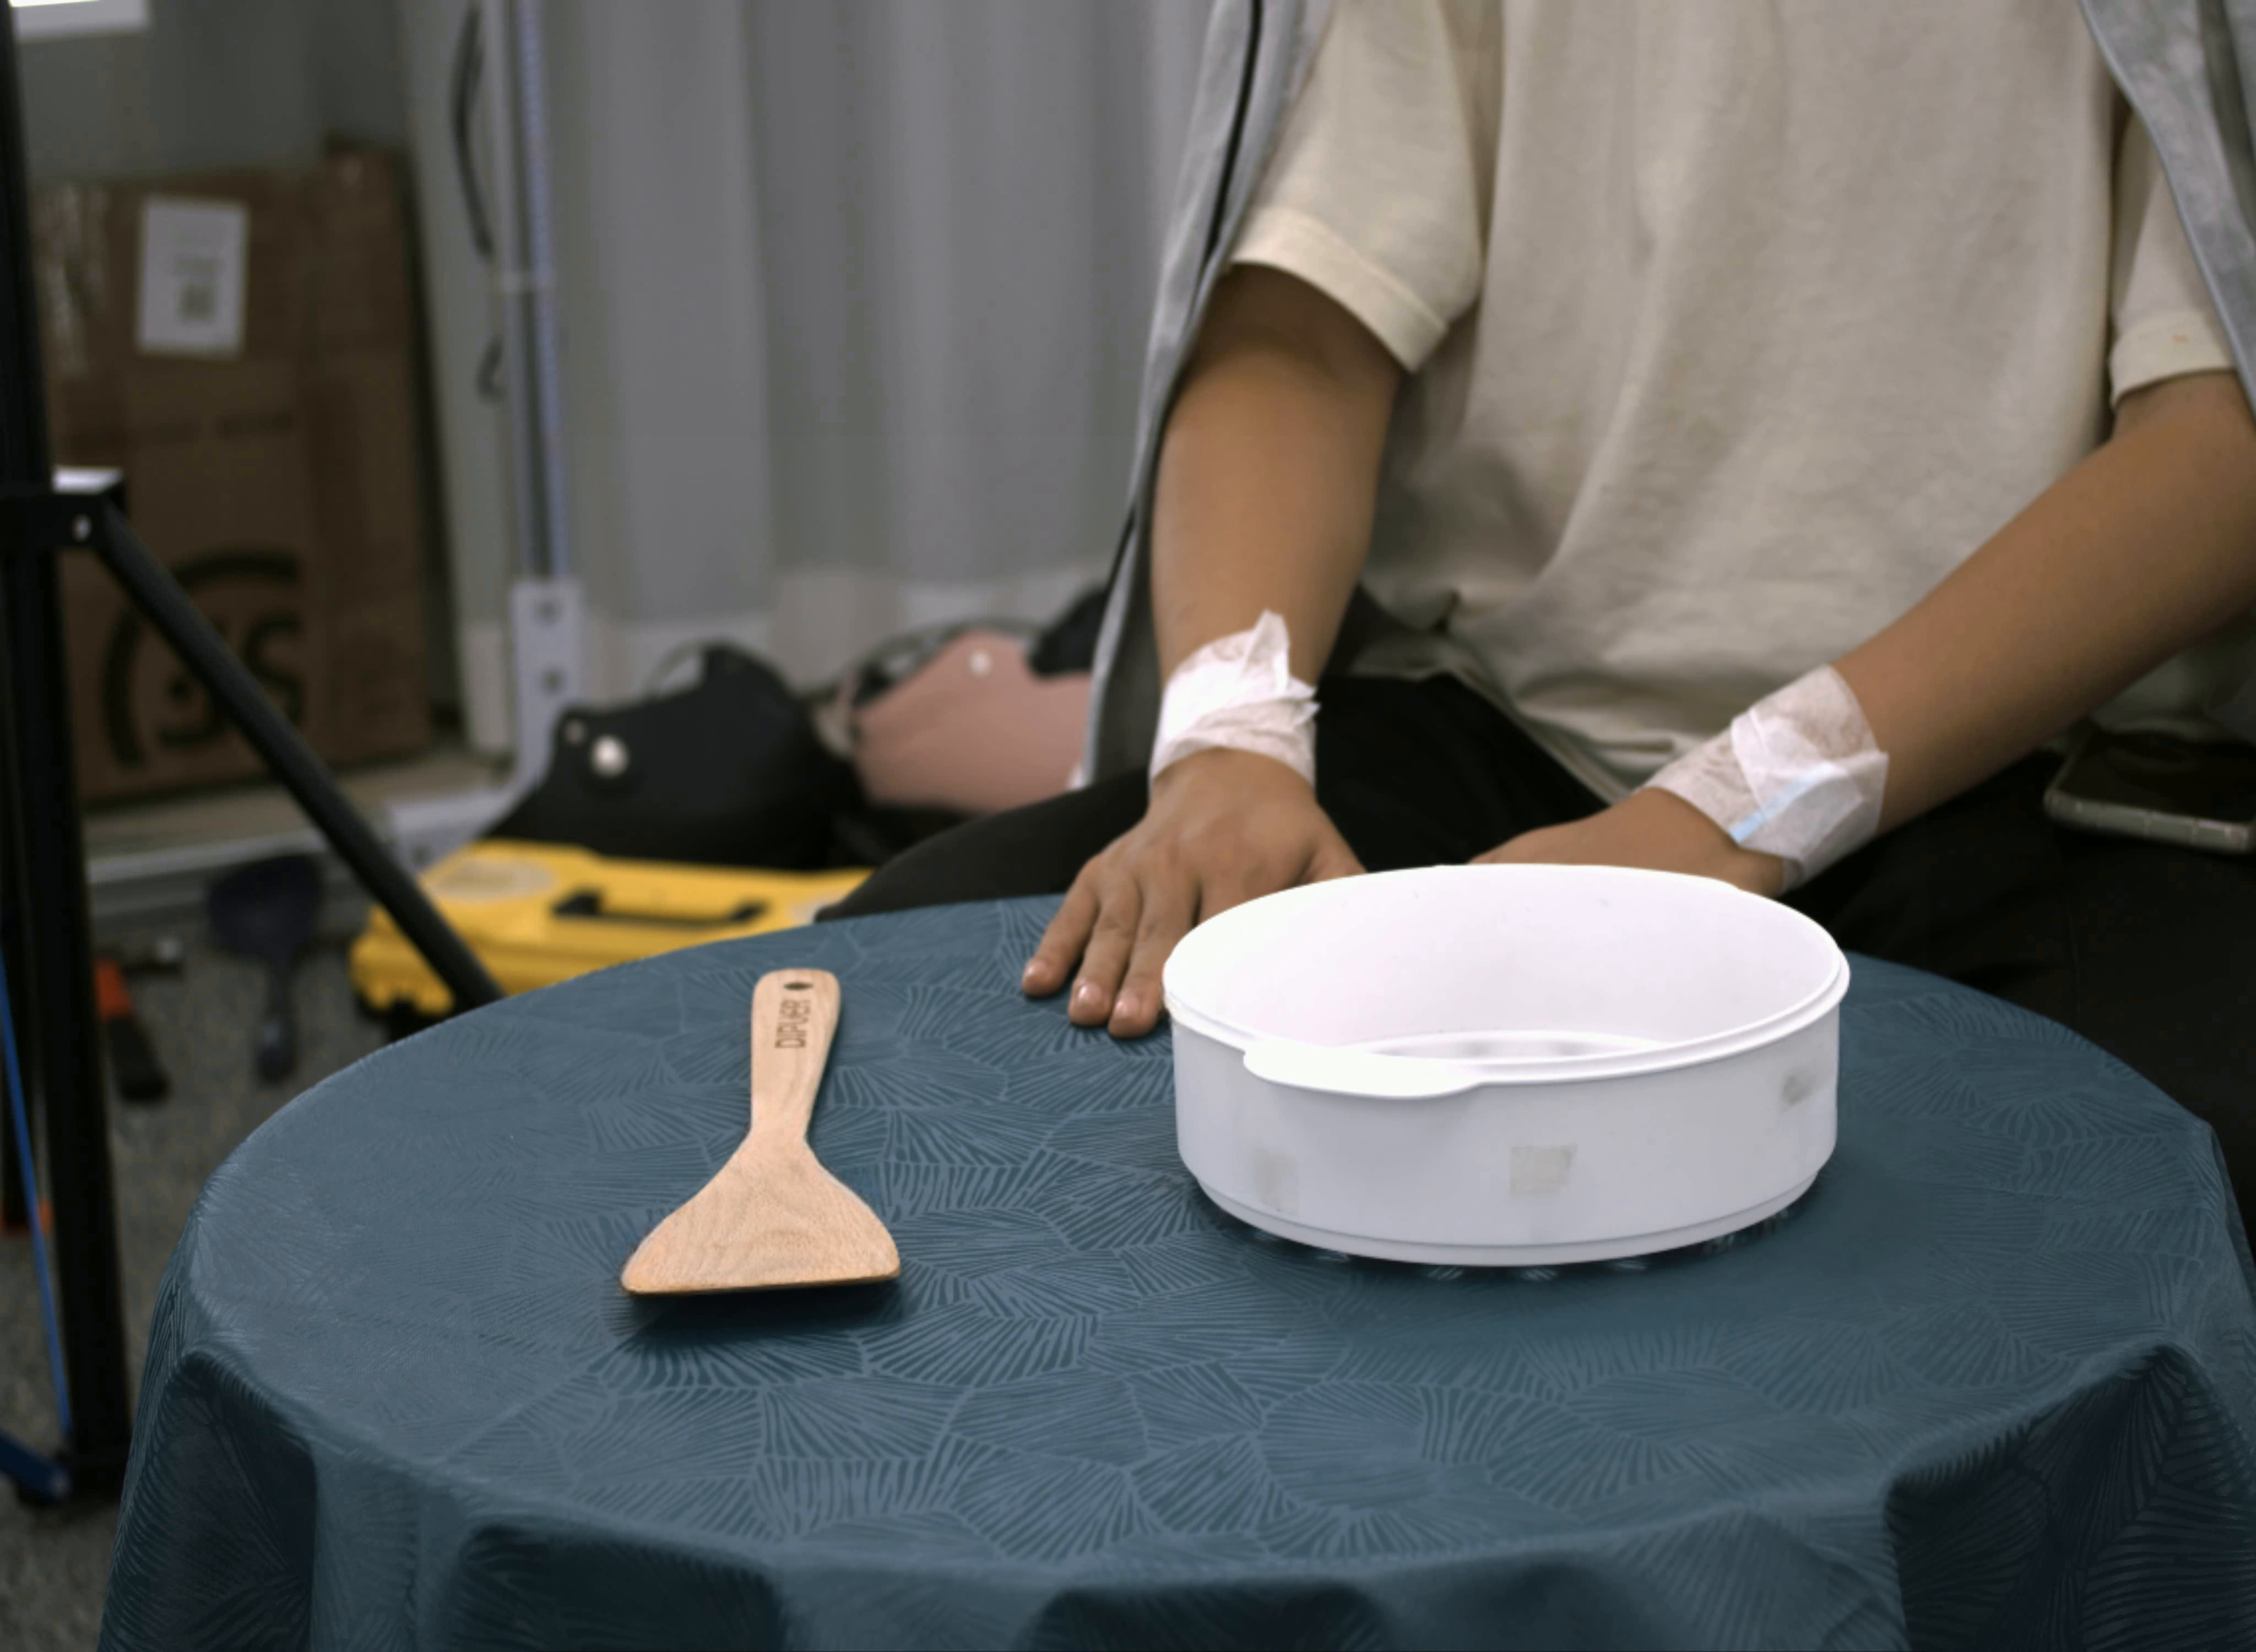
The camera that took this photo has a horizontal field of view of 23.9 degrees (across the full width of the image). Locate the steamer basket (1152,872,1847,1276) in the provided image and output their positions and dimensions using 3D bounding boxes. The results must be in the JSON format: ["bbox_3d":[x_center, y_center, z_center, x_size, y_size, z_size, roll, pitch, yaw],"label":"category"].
[{"bbox_3d":[0.107,0.072,1.545,0.205,0.069,0.226,8,17,29],"label":"steamer basket"}]

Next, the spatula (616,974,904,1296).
[{"bbox_3d":[-0.106,0.090,1.605,0.079,0.016,0.329,-2,15,-1],"label":"spatula"}]
